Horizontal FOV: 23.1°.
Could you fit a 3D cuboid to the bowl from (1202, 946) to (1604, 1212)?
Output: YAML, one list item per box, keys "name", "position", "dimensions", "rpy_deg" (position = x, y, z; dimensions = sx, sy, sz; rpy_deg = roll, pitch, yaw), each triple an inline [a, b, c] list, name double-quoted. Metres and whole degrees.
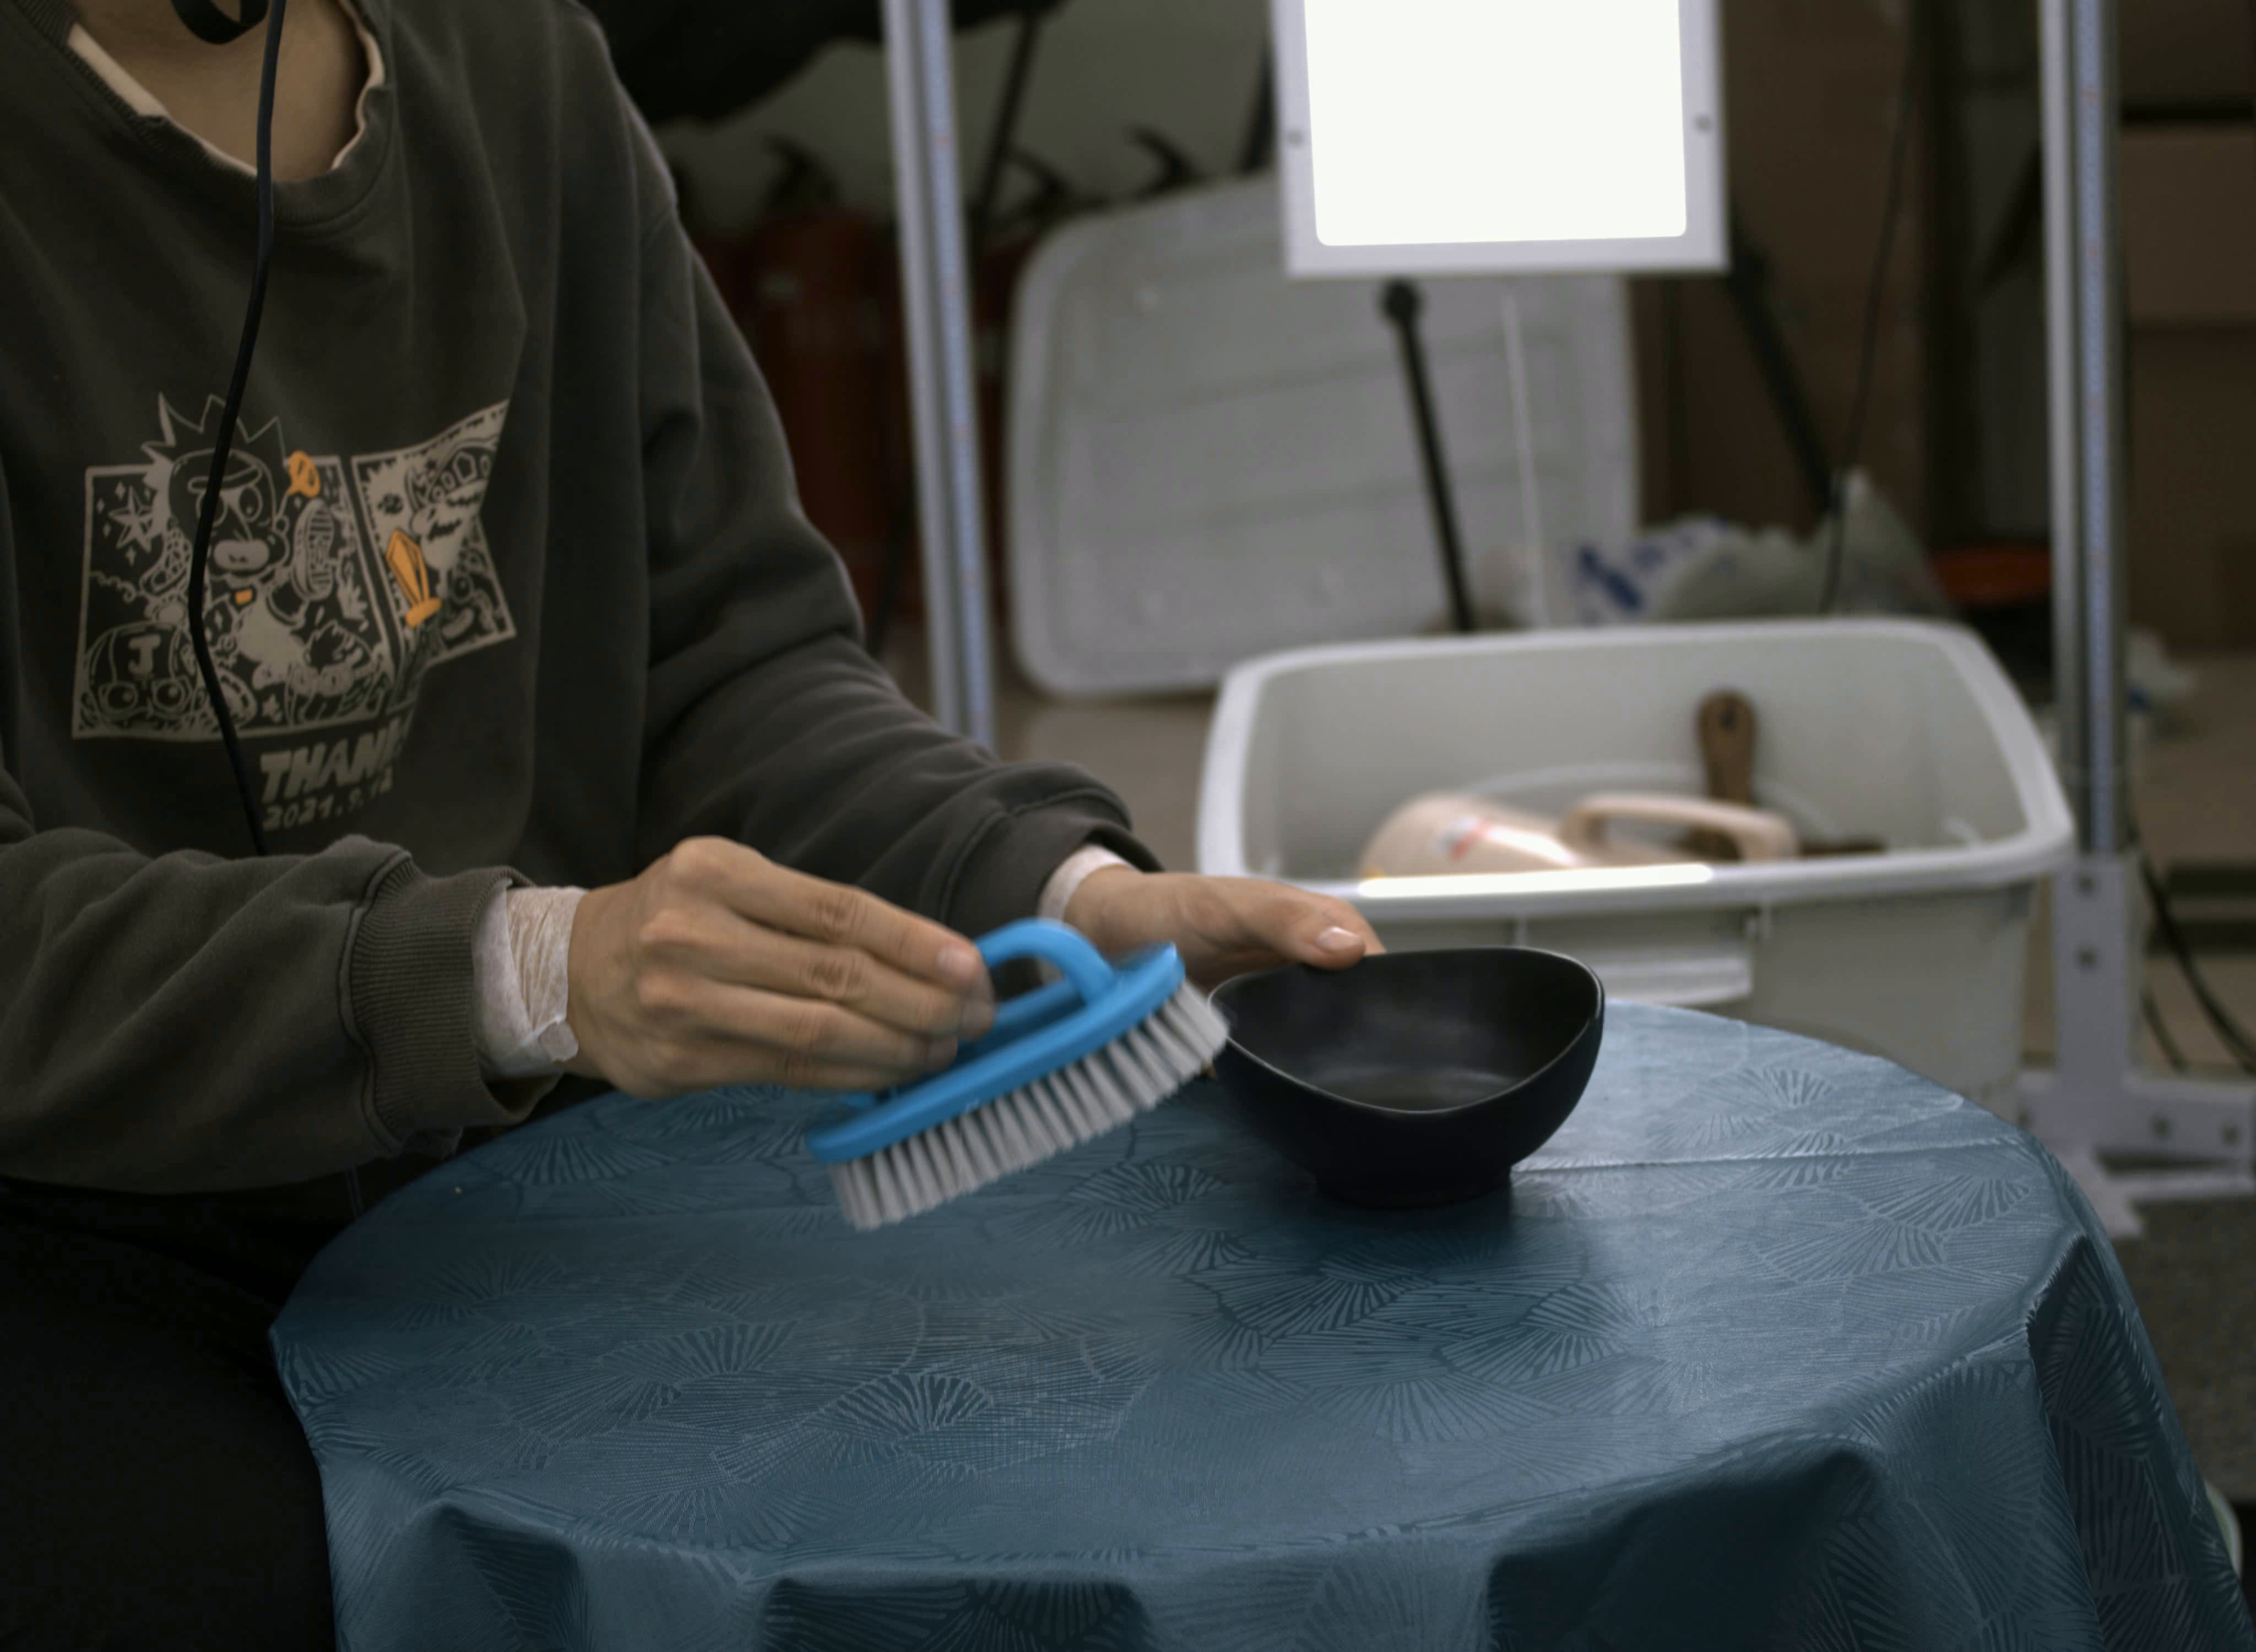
- name: "bowl"
  position: [0.097, 0.090, 1.878]
  dimensions: [0.136, 0.067, 0.170]
  rpy_deg: [-7, 15, -4]

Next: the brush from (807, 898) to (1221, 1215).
- name: "brush"
  position: [-0.045, 0.064, 1.732]
  dimensions: [0.144, 0.063, 0.083]
  rpy_deg: [-27, 16, 24]
